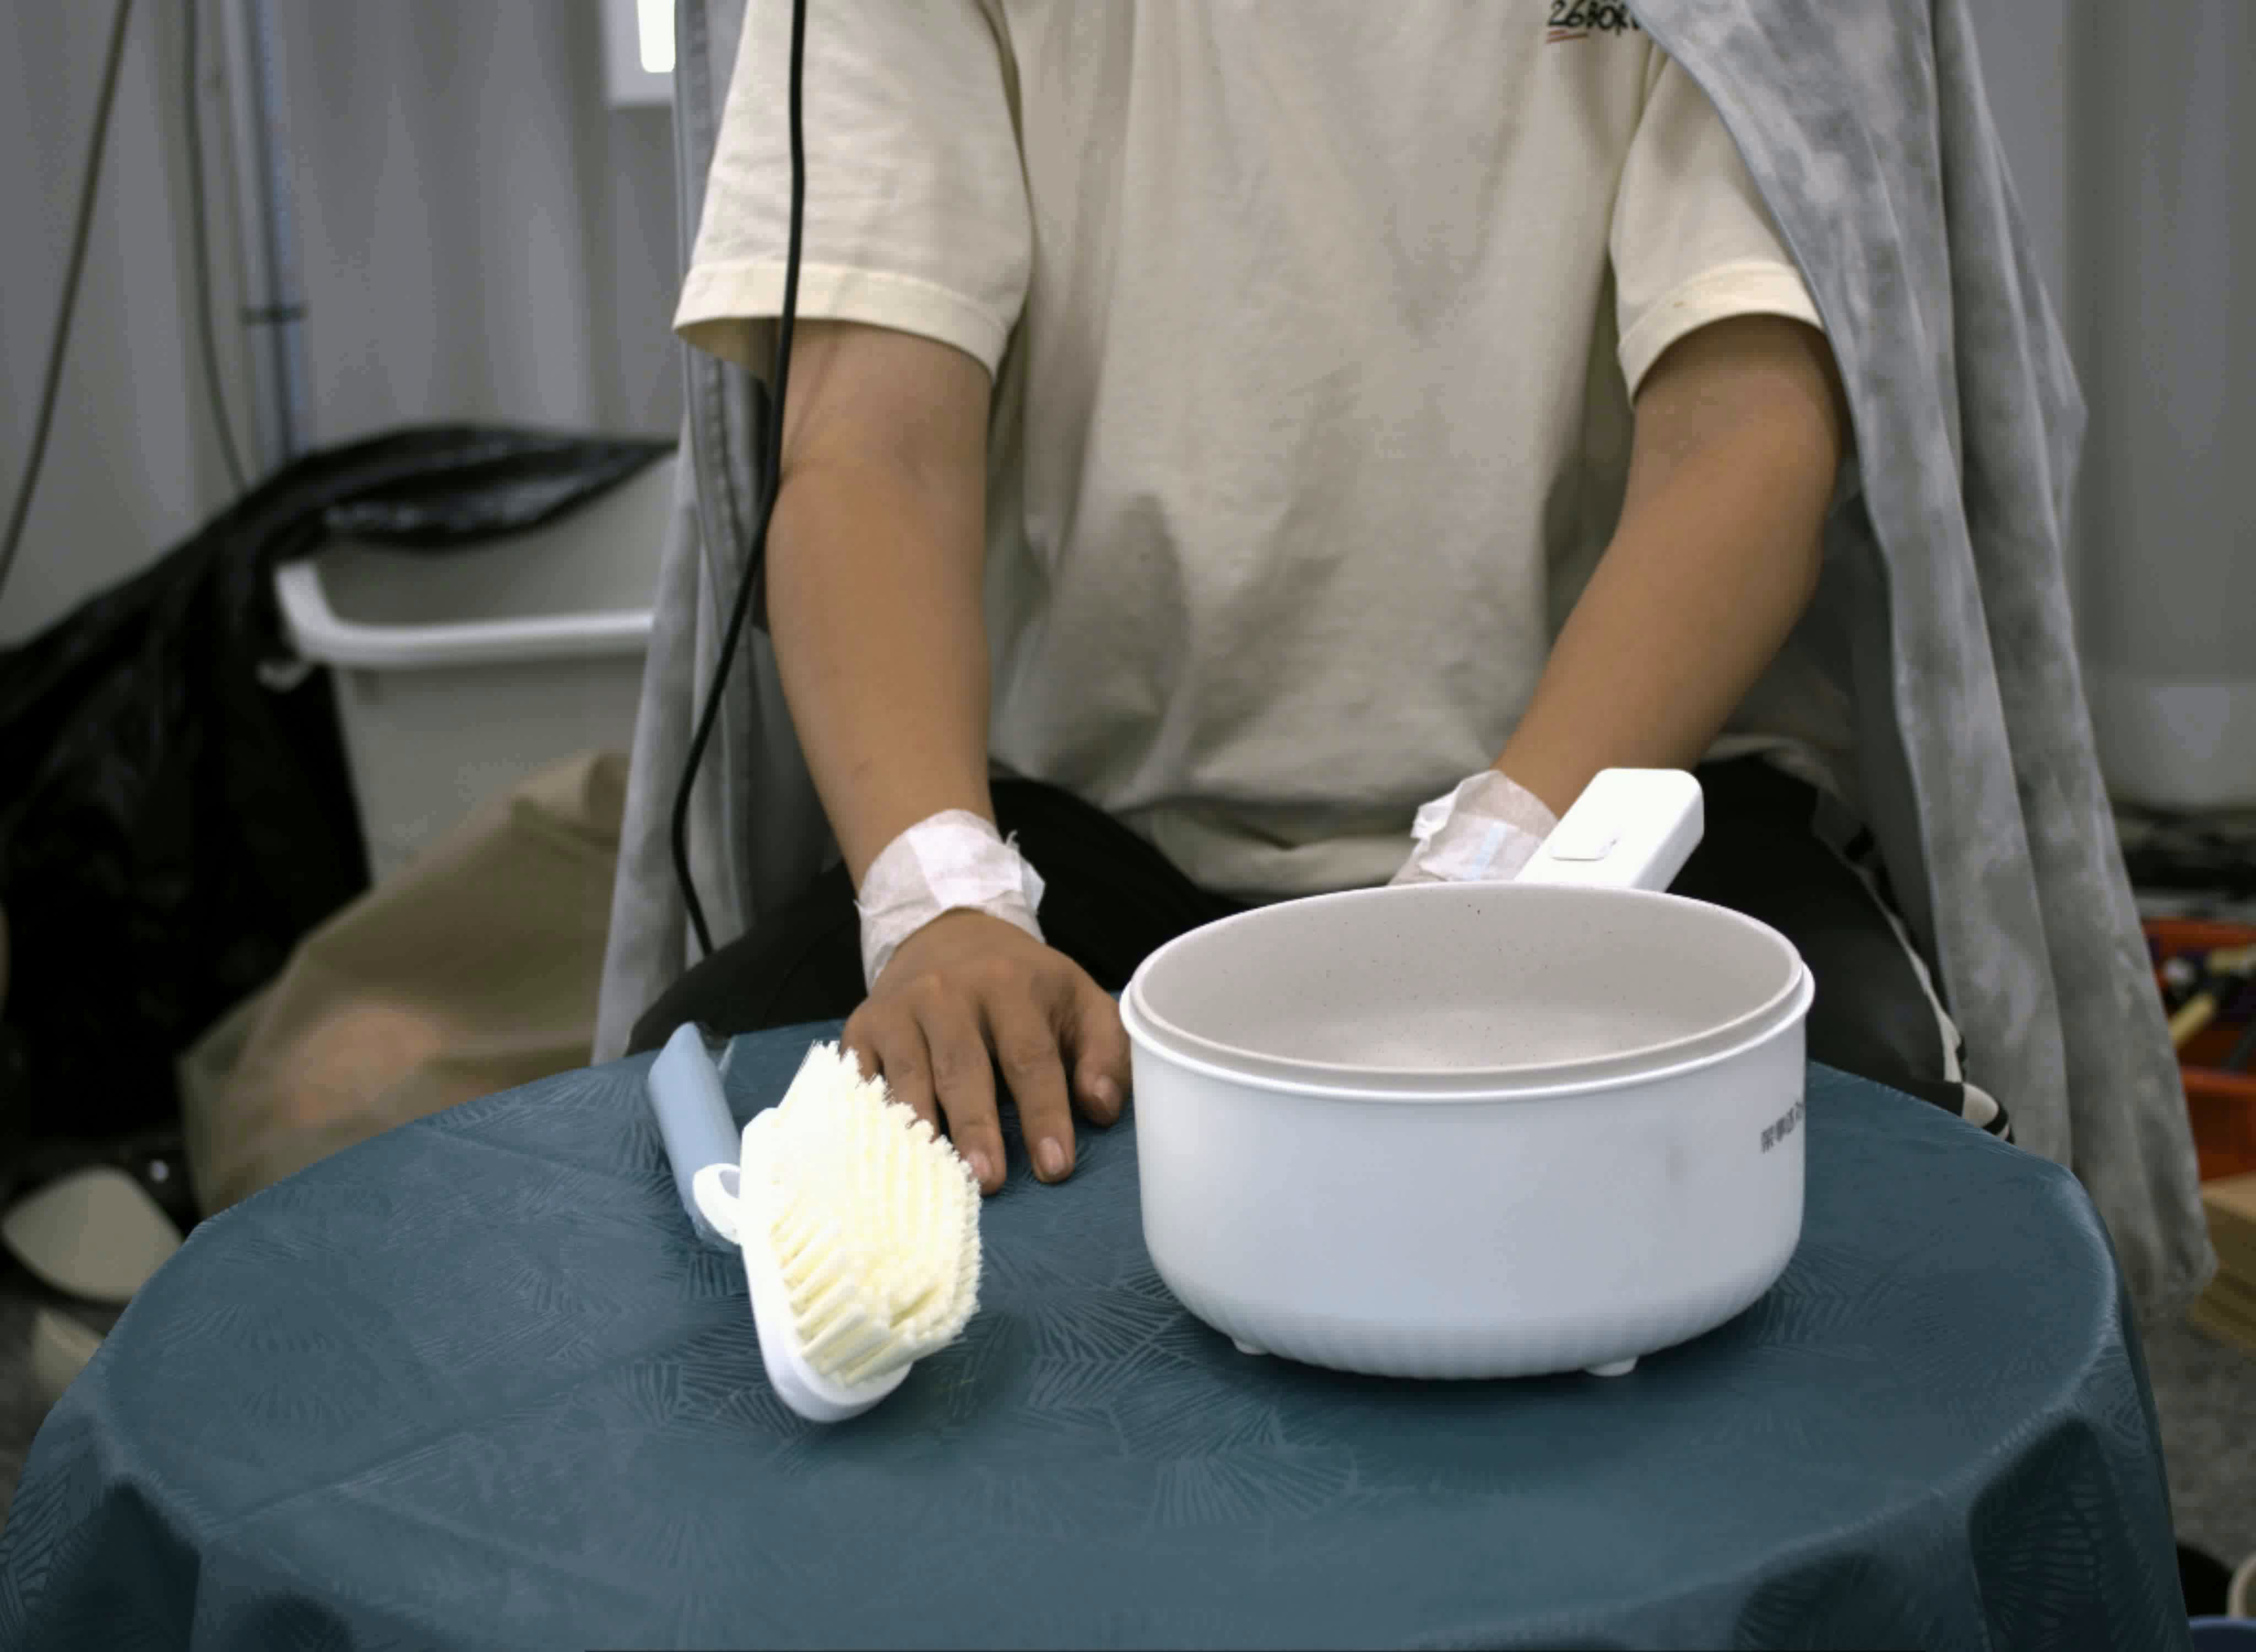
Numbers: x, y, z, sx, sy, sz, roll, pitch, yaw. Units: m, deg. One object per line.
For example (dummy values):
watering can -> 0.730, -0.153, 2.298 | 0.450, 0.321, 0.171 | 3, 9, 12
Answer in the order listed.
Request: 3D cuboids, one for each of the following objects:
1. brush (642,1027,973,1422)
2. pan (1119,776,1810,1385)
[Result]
brush -> -0.099, 0.092, 1.669 | 0.084, 0.083, 0.328 | -9, 16, -8
pan -> 0.121, 0.073, 1.667 | 0.201, 0.102, 0.356 | 1, 14, 17
